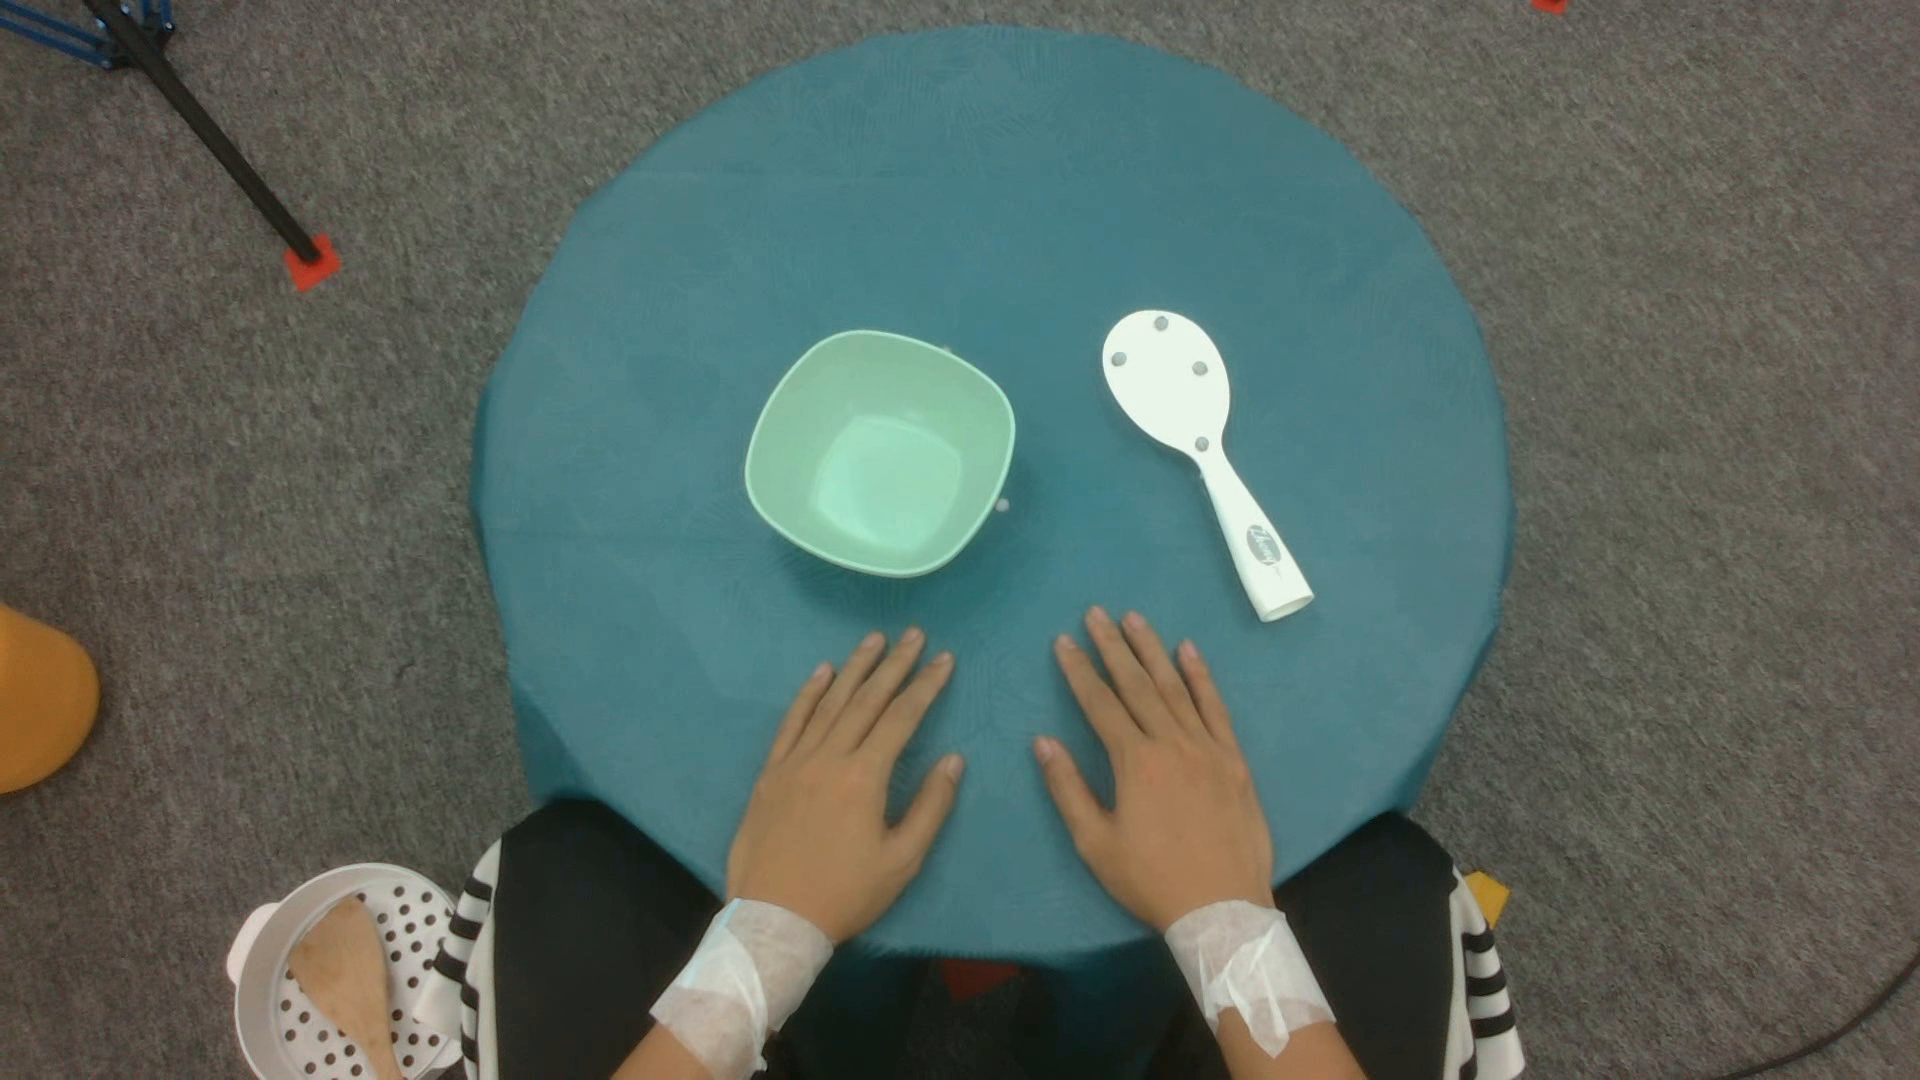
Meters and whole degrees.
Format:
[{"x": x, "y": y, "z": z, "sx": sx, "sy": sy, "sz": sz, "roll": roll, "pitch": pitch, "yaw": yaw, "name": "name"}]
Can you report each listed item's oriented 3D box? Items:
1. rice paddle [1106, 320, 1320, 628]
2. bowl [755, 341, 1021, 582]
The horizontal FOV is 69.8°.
[{"x": 0.146, "y": -0.046, "z": 0.798, "sx": 0.069, "sy": 0.029, "sz": 0.205, "roll": -21, "pitch": 69, "yaw": -9, "name": "rice paddle"}, {"x": -0.039, "y": -0.036, "z": 0.784, "sx": 0.151, "sy": 0.058, "sz": 0.152, "roll": 0, "pitch": 66, "yaw": 0, "name": "bowl"}]
